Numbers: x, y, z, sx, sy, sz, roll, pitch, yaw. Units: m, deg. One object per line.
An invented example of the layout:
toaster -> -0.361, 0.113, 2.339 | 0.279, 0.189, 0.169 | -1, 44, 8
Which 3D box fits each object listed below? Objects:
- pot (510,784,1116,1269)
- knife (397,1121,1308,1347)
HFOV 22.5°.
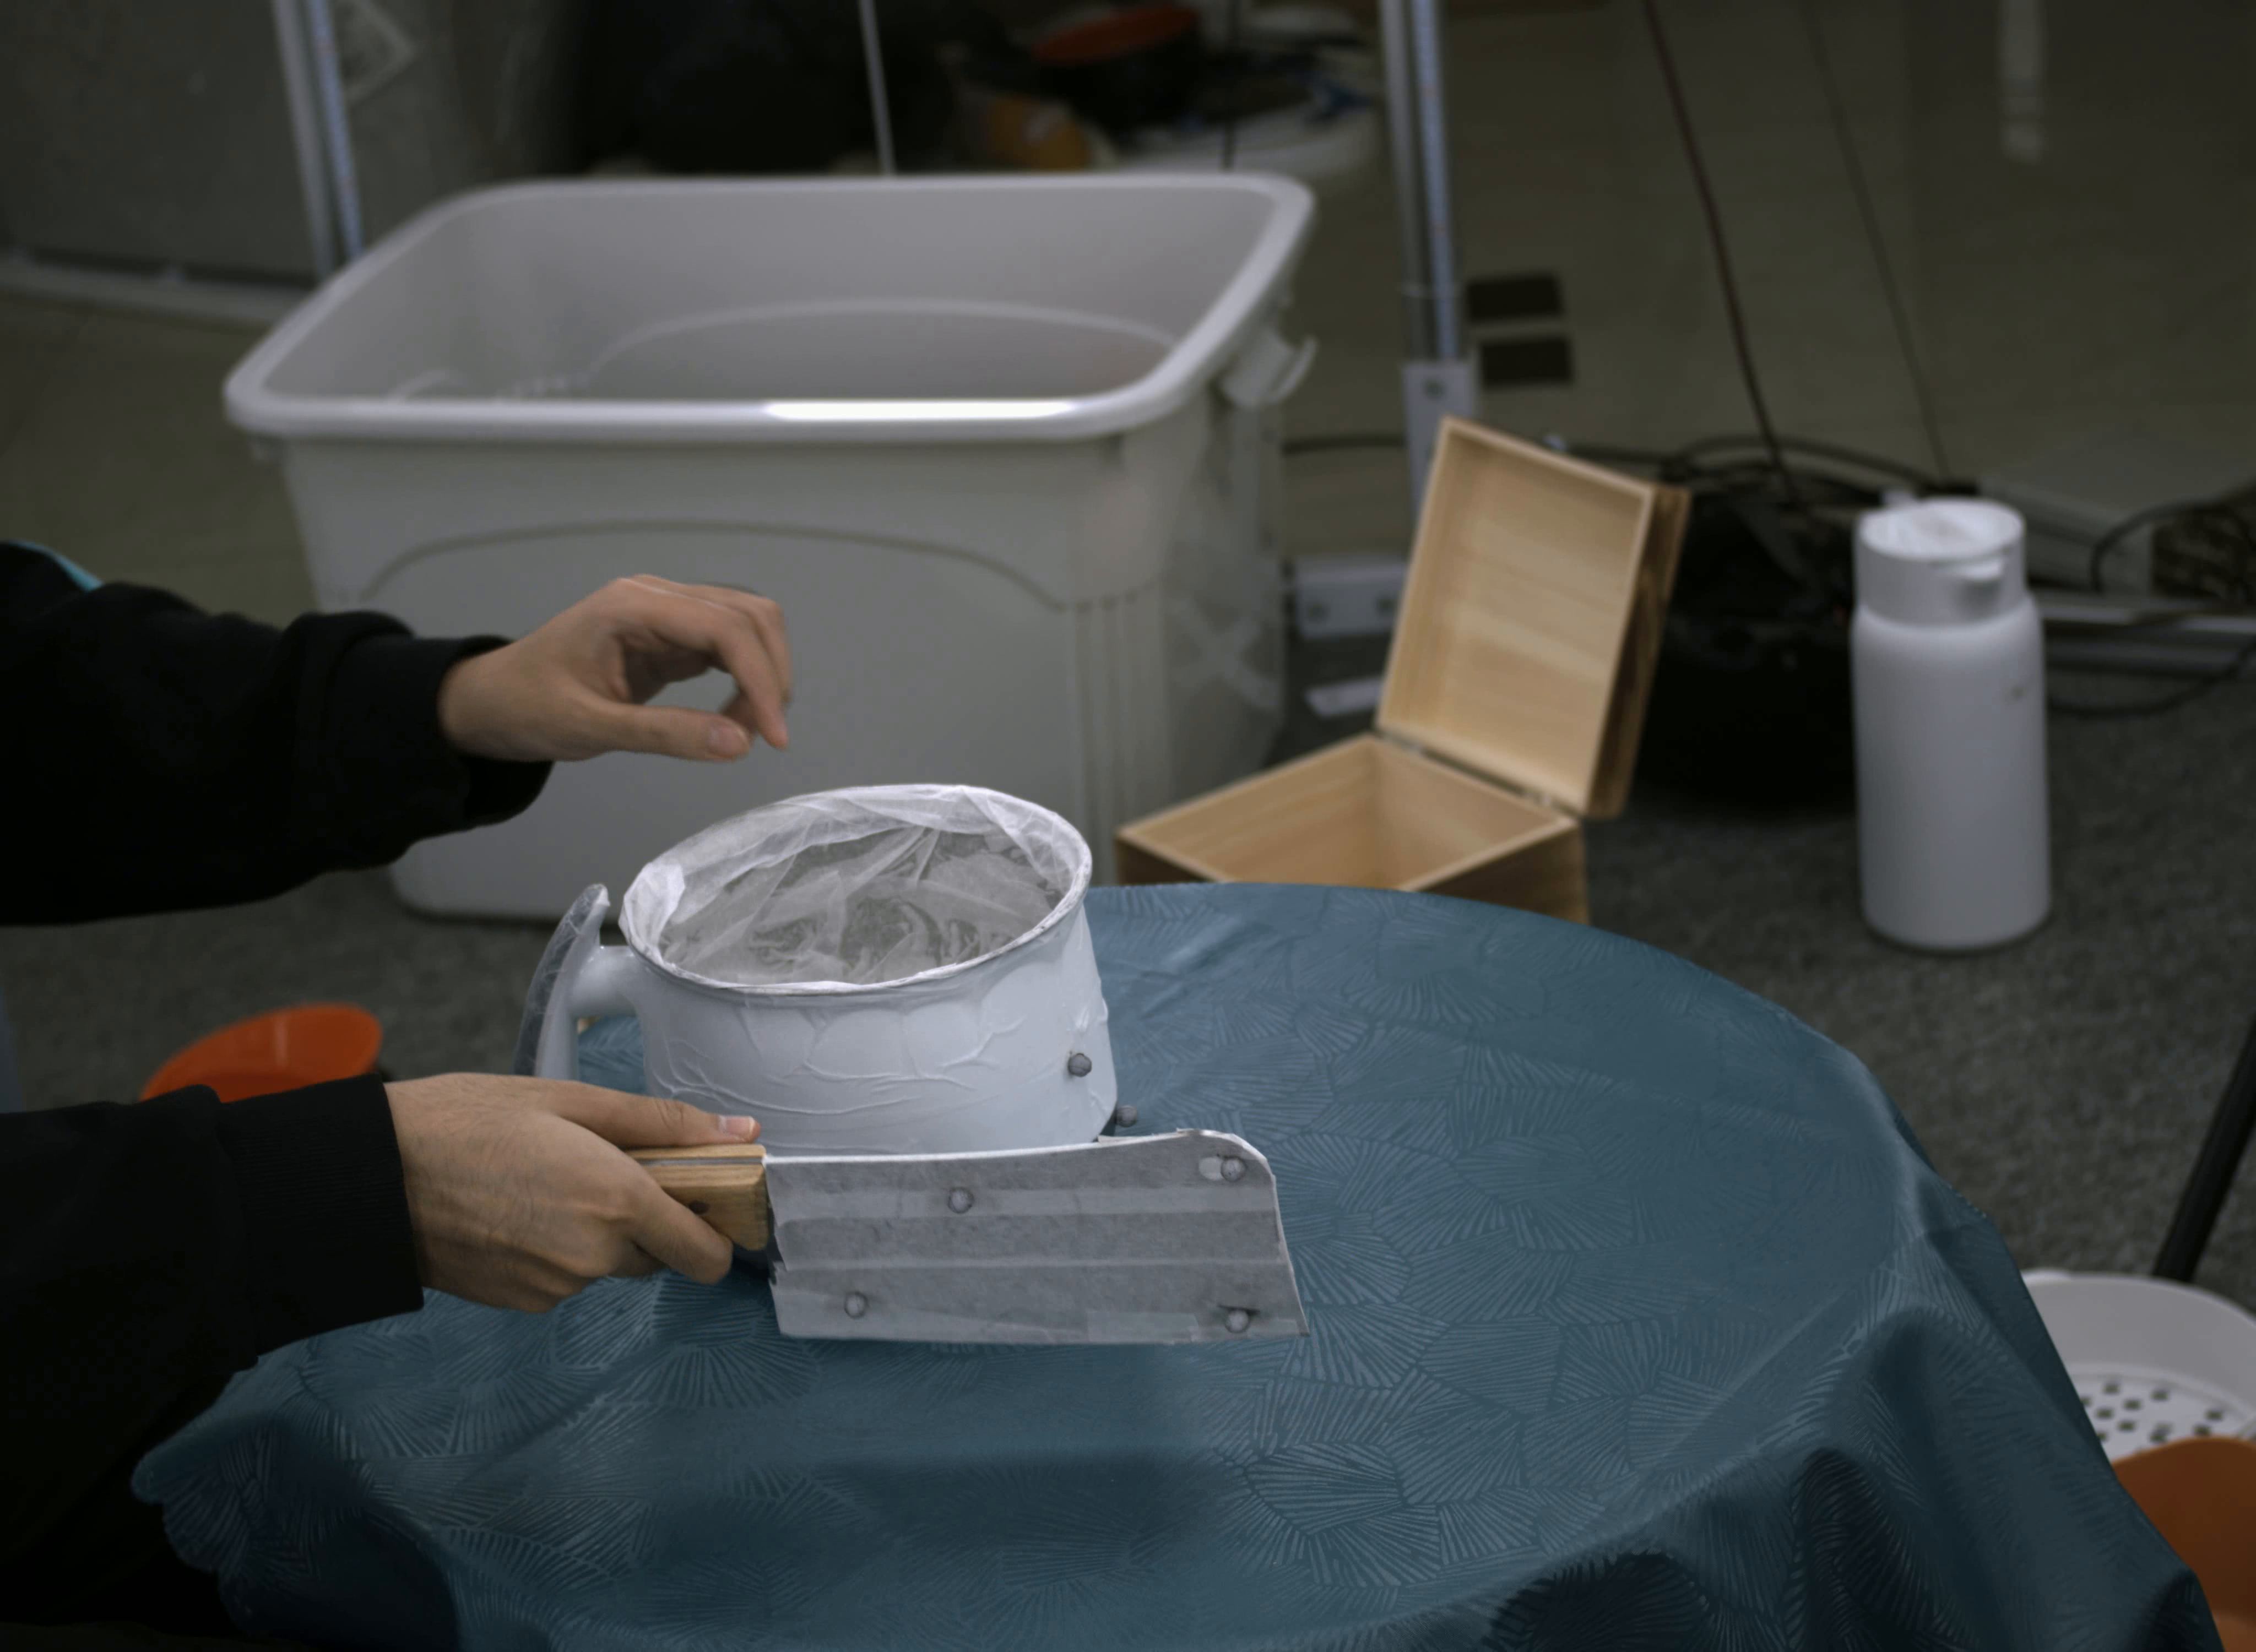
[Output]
pot -> -0.122, 0.079, 2.137 | 0.233, 0.139, 0.176 | -2, 25, 6
knife -> -0.096, 0.139, 1.950 | 0.315, 0.116, 0.021 | 2, 42, 6
